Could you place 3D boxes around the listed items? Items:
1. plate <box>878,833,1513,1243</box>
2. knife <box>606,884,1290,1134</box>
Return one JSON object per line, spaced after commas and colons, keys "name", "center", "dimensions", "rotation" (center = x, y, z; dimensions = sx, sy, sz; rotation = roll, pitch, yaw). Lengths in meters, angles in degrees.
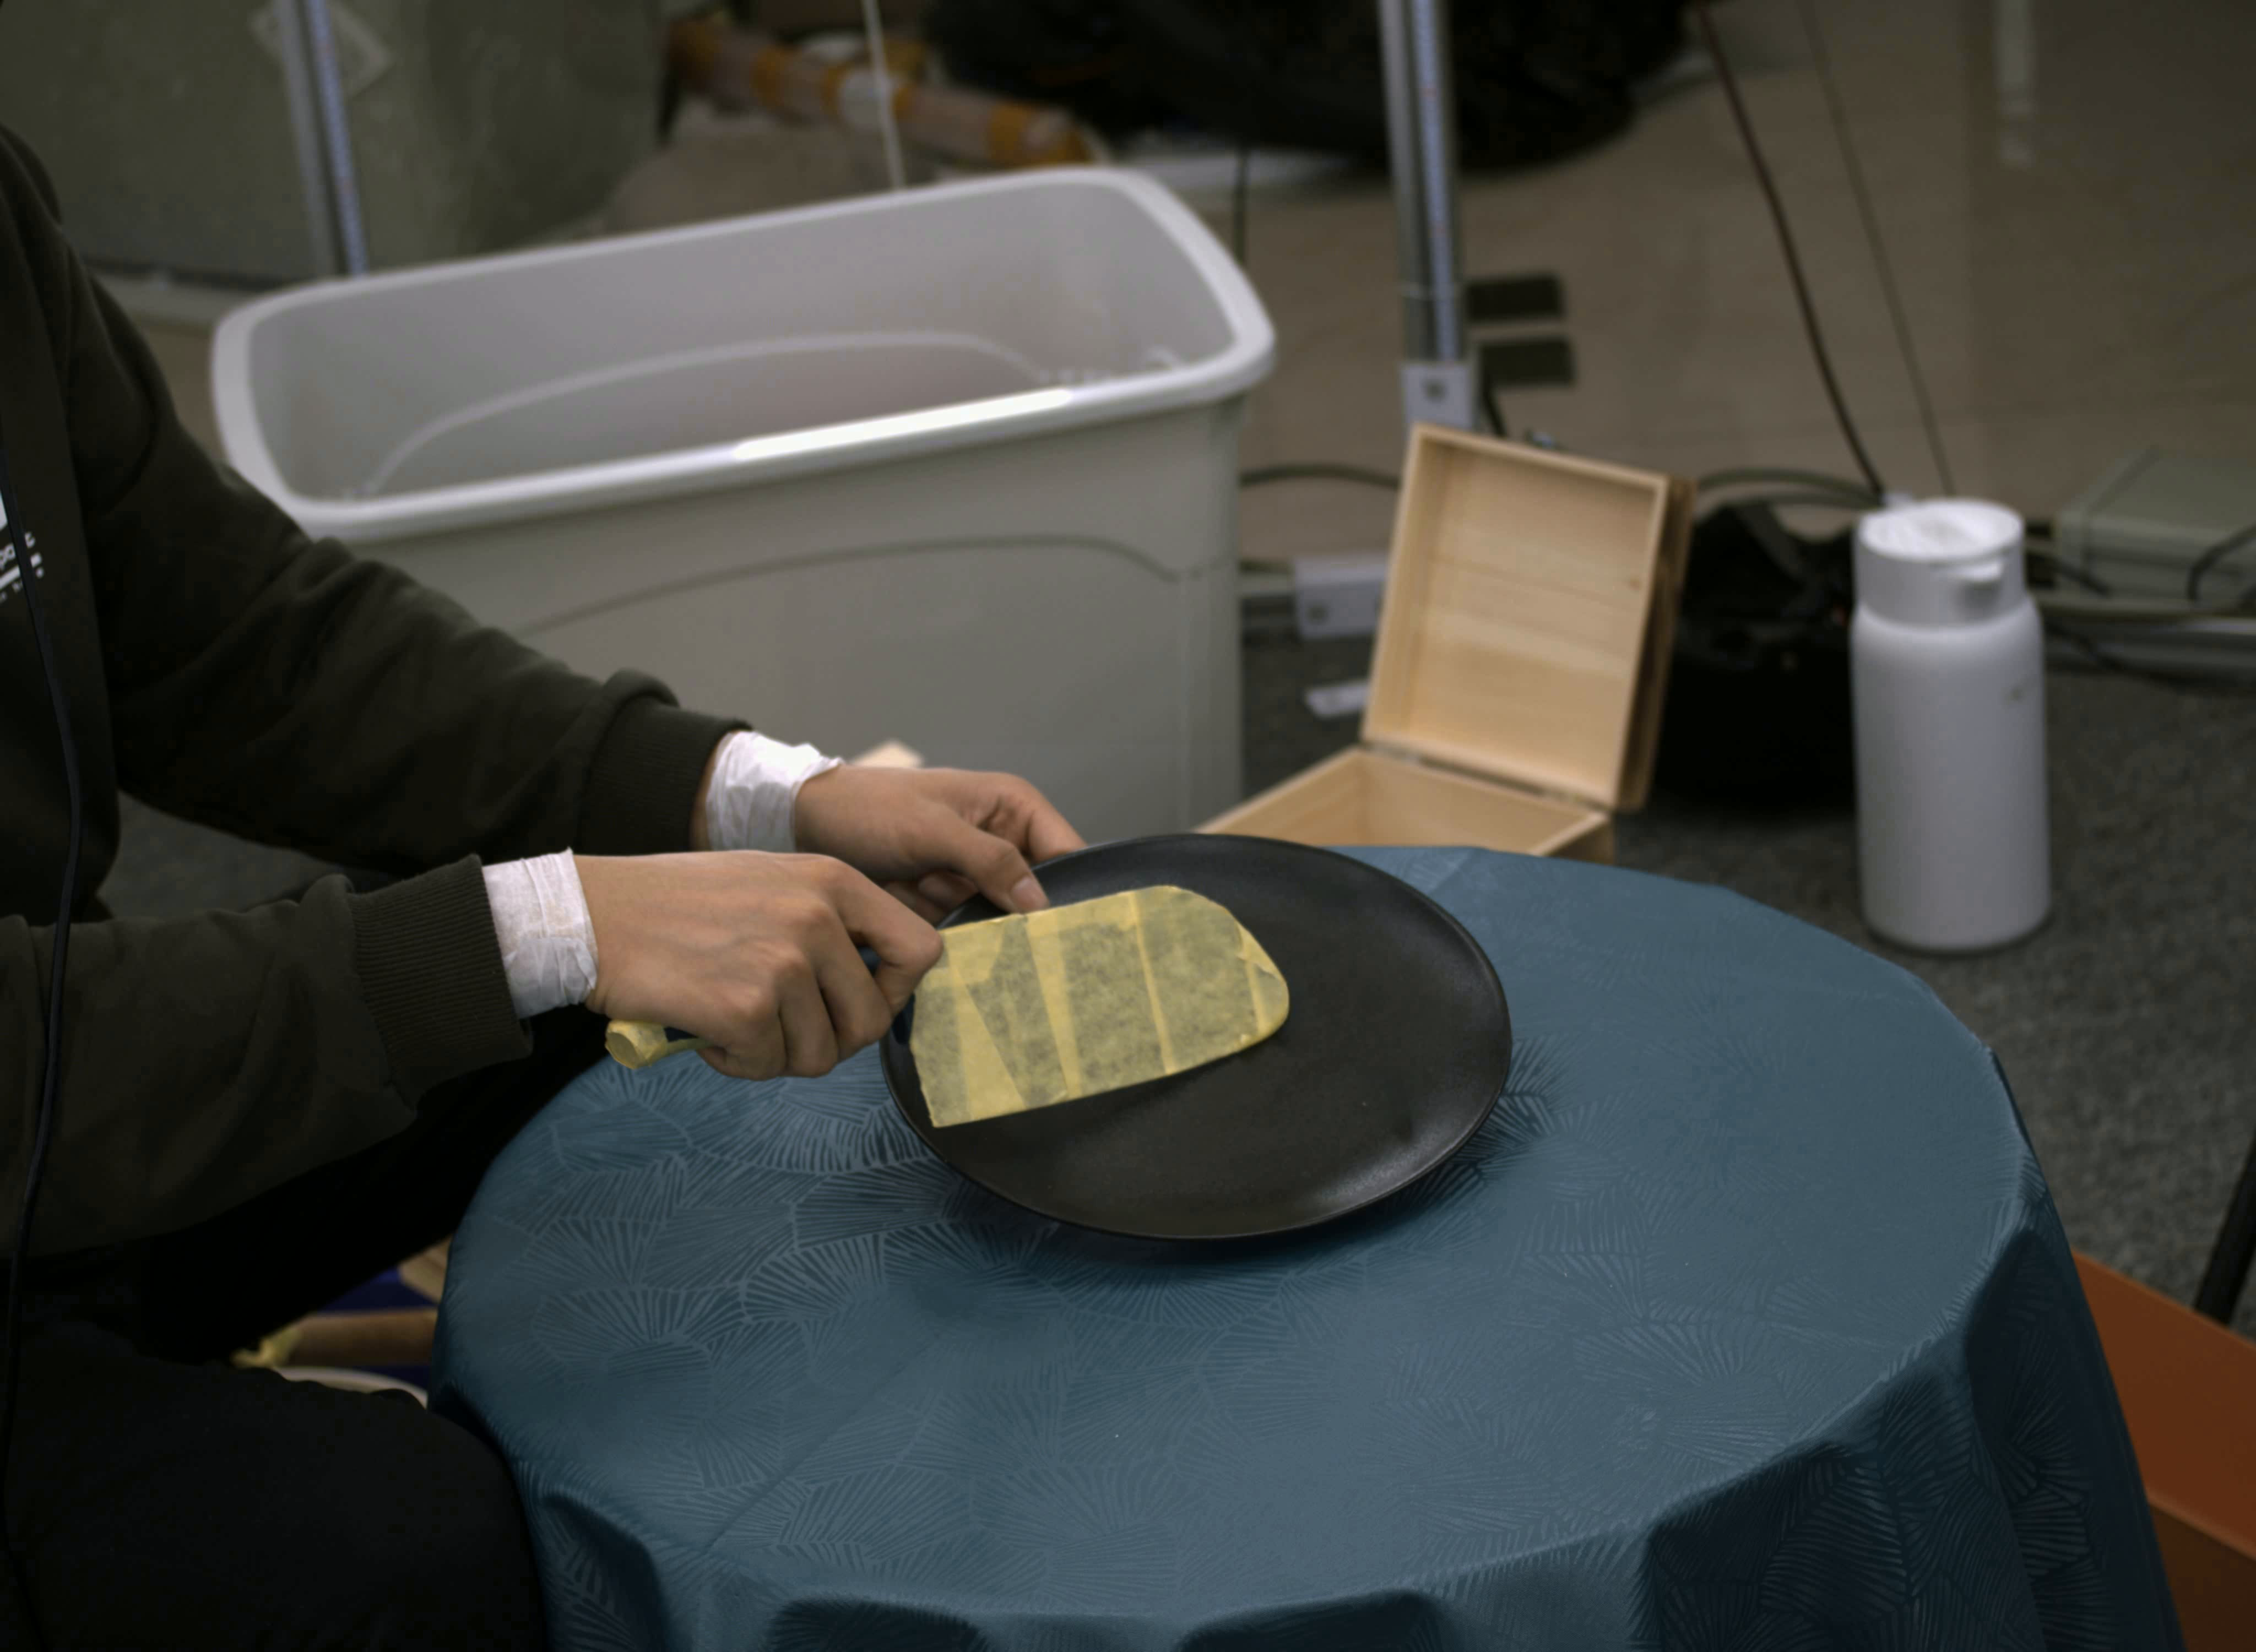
{"name": "plate", "center": [0.026, 0.086, 2.181], "dimensions": [0.244, 0.024, 0.240], "rotation": [0, 39, 0]}
{"name": "knife", "center": [-0.061, 0.073, 2.123], "dimensions": [0.288, 0.081, 0.027], "rotation": [-8, -6, -29]}
